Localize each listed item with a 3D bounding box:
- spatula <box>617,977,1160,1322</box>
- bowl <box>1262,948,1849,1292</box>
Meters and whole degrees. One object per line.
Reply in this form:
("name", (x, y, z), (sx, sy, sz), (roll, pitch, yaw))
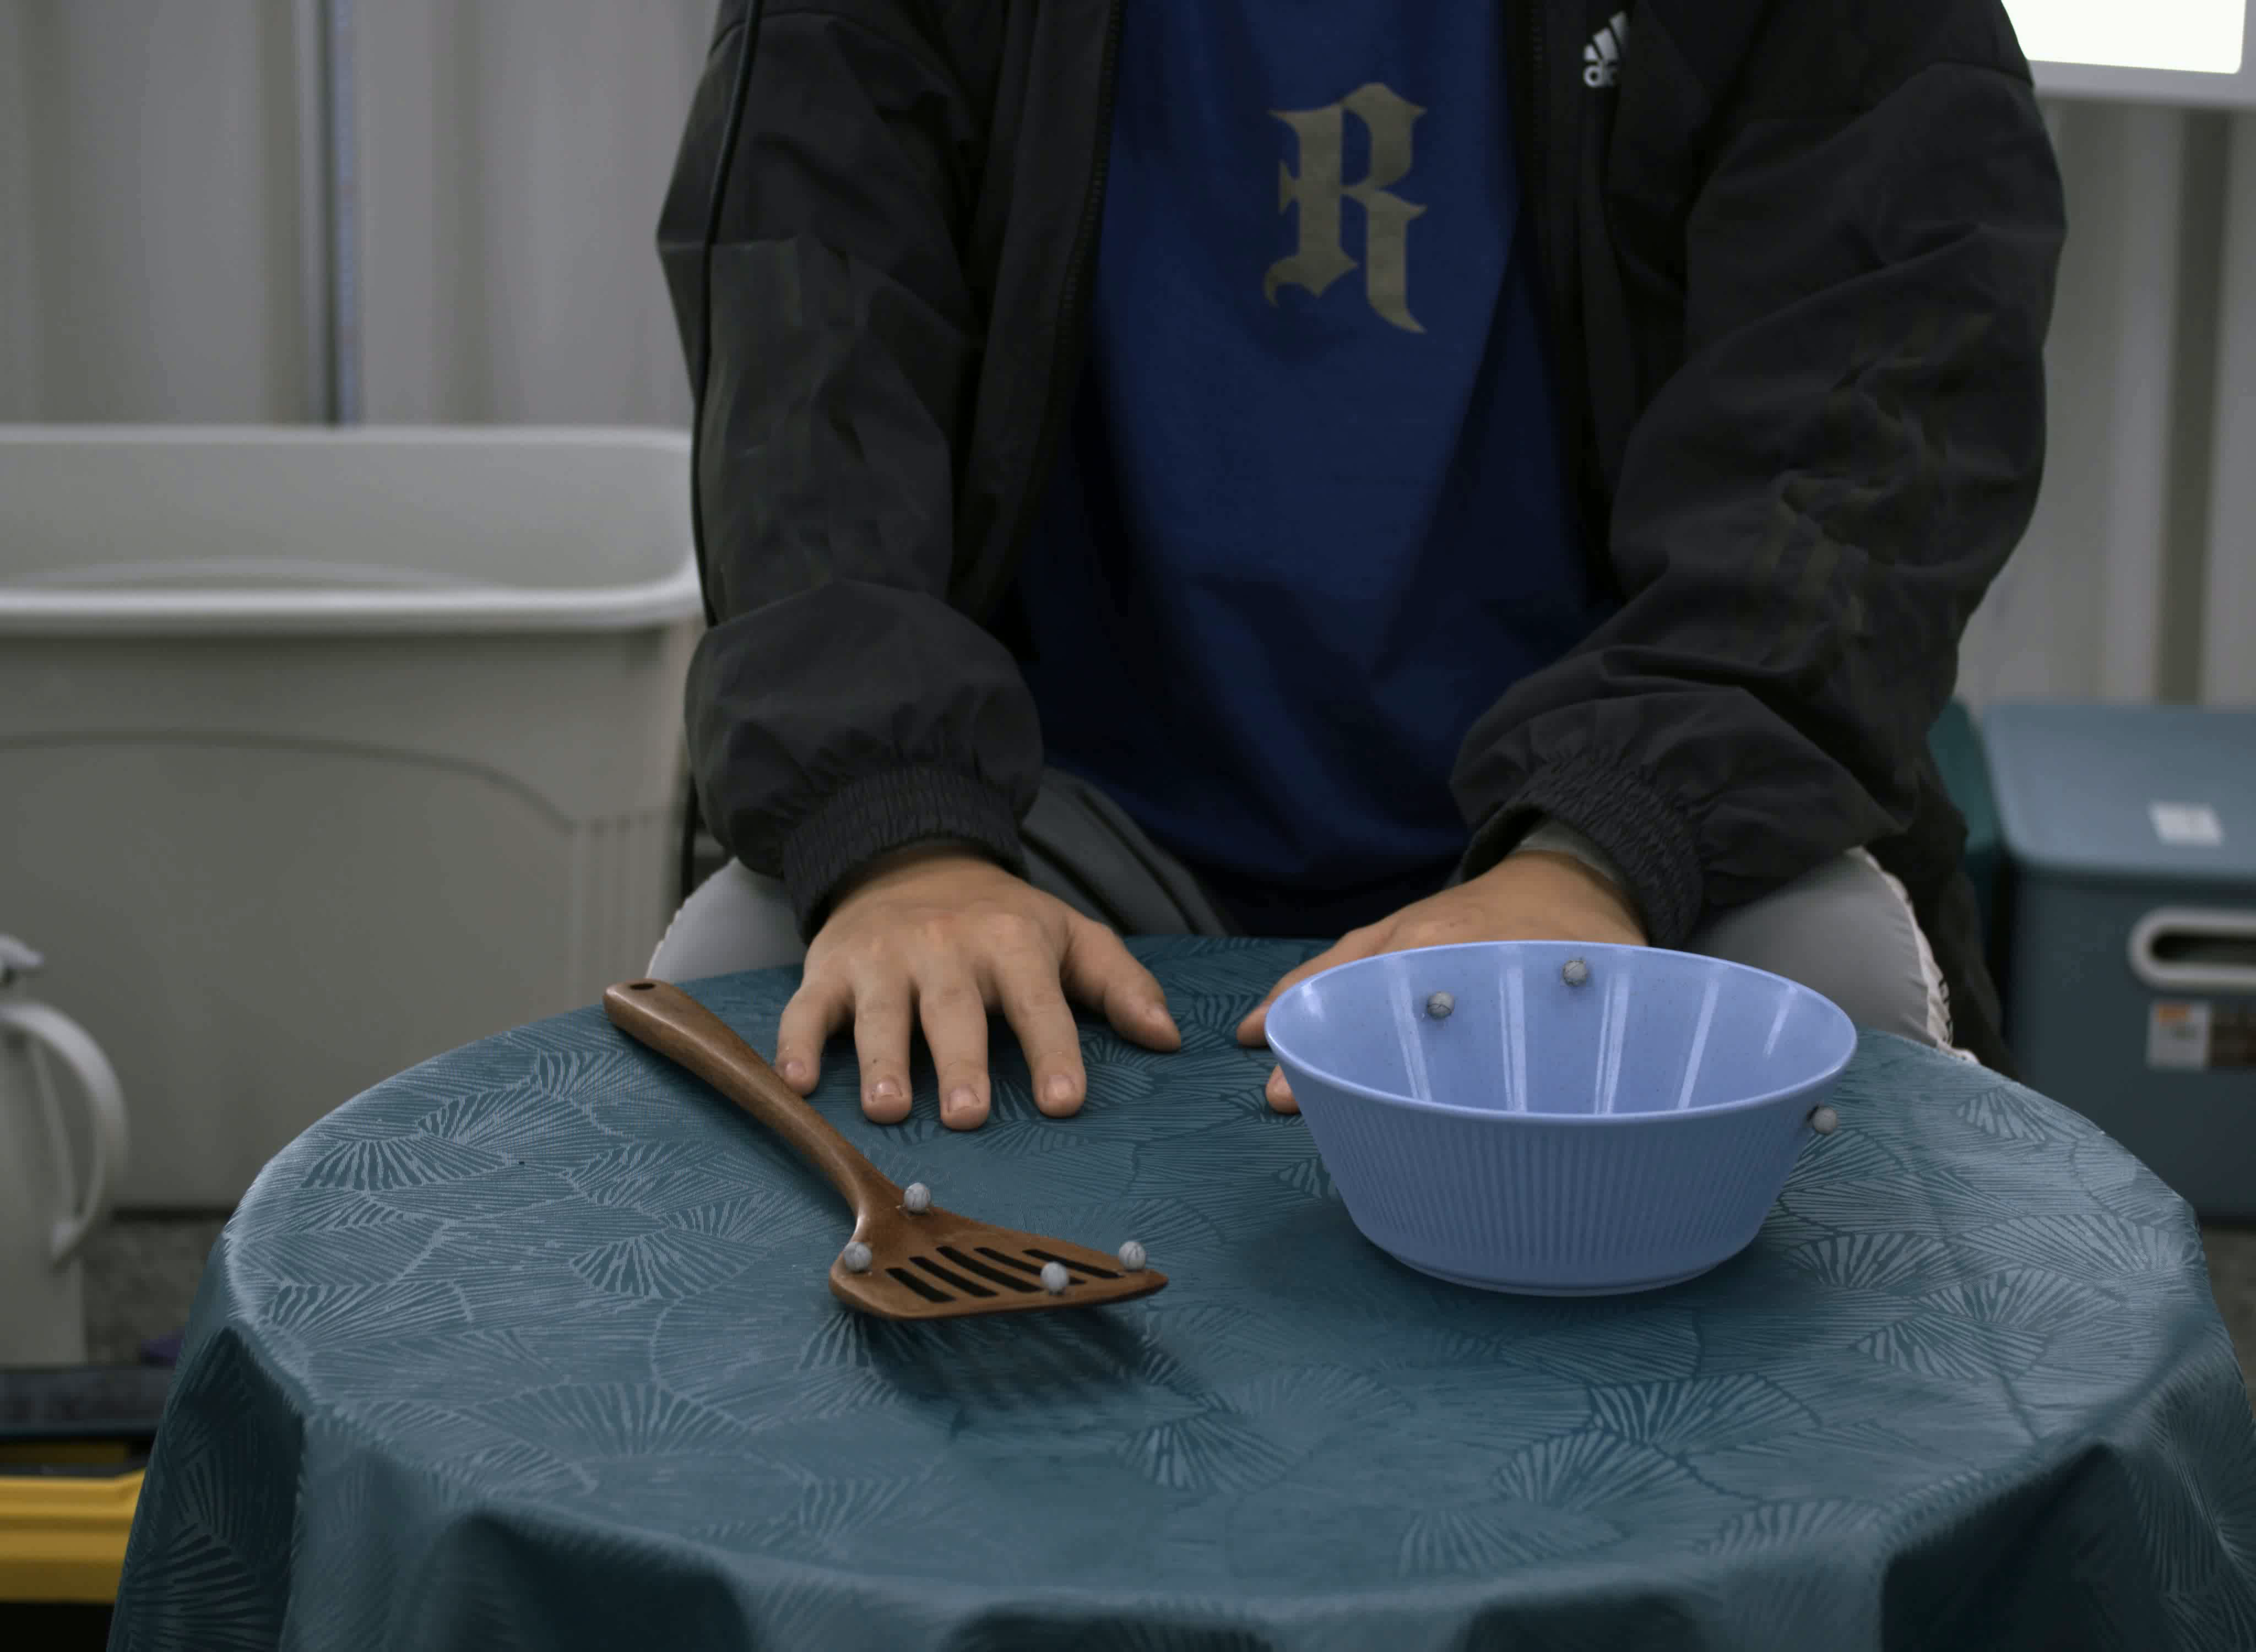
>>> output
("spatula", (-0.095, 0.100, 1.627), (0.086, 0.024, 0.382), (-5, 15, -22))
("bowl", (0.127, 0.090, 1.576), (0.175, 0.071, 0.175), (1, 14, 0))
